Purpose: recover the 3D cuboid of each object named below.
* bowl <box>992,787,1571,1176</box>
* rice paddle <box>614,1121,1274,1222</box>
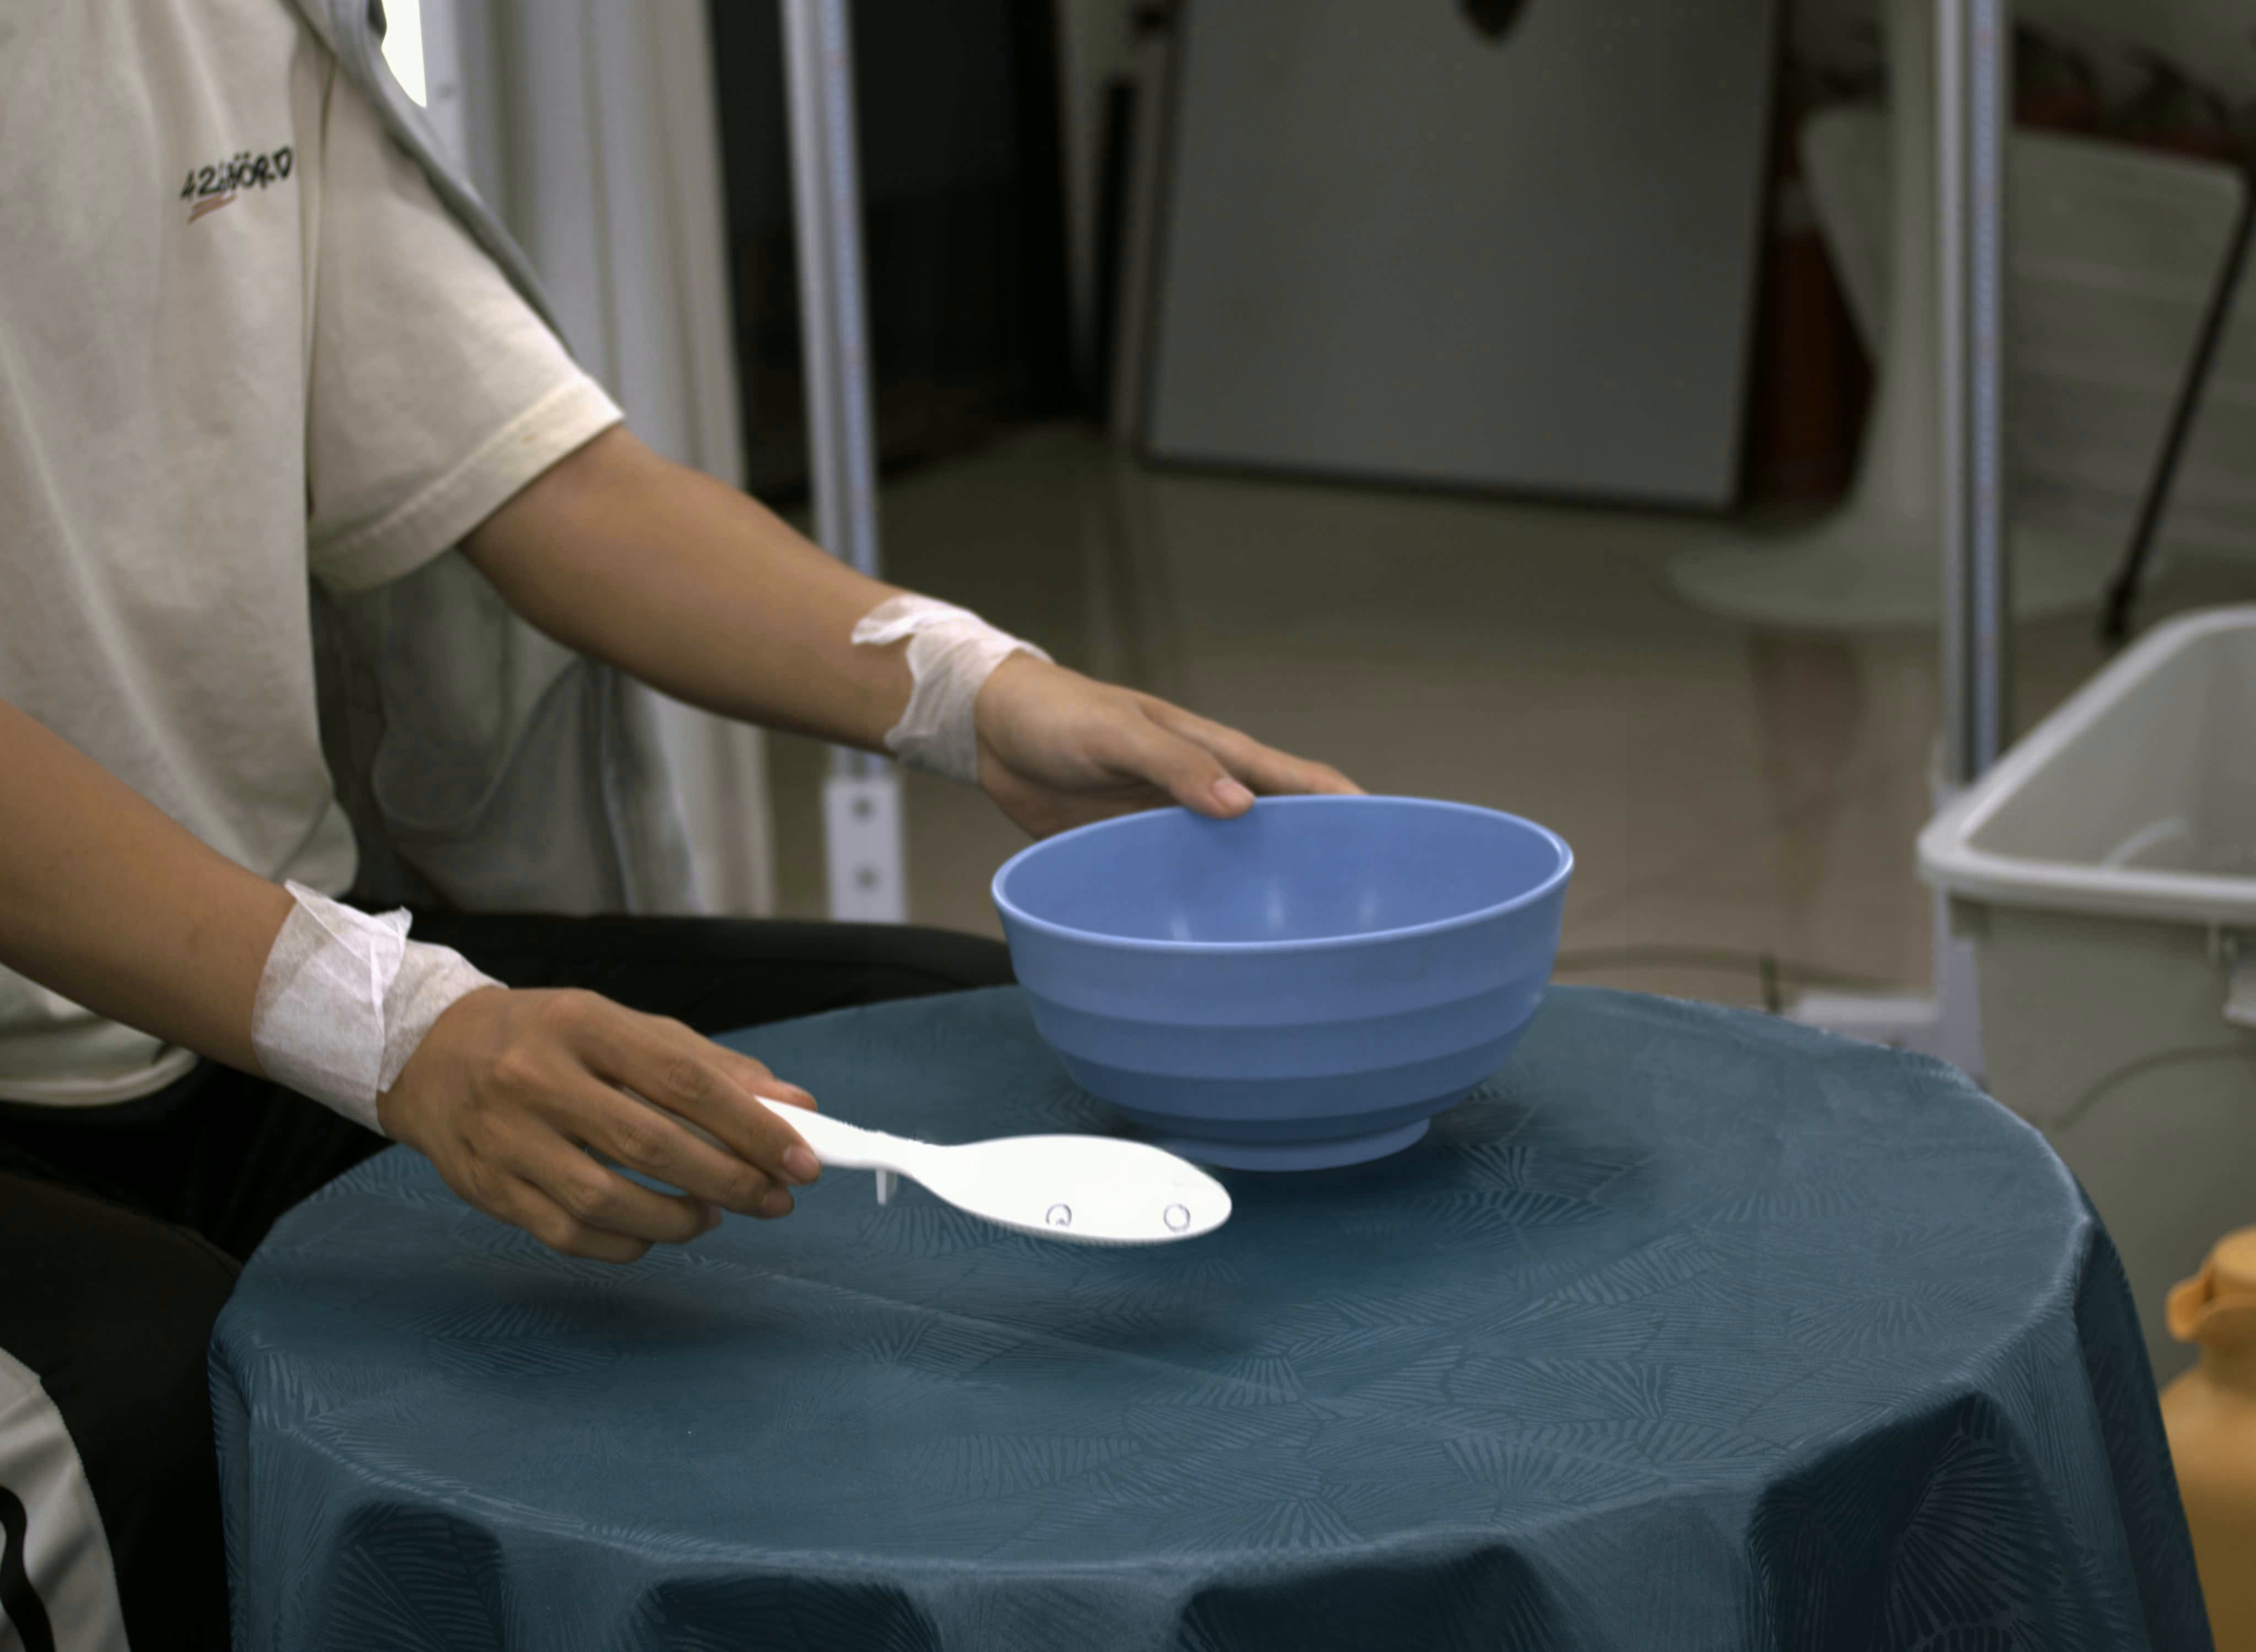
[{"bbox_3d":[0.053,0.058,1.813,0.194,0.096,0.197,-3,15,0],"label":"bowl"},{"bbox_3d":[-0.056,0.106,1.656,0.203,0.030,0.068,0,7,7],"label":"rice paddle"}]
